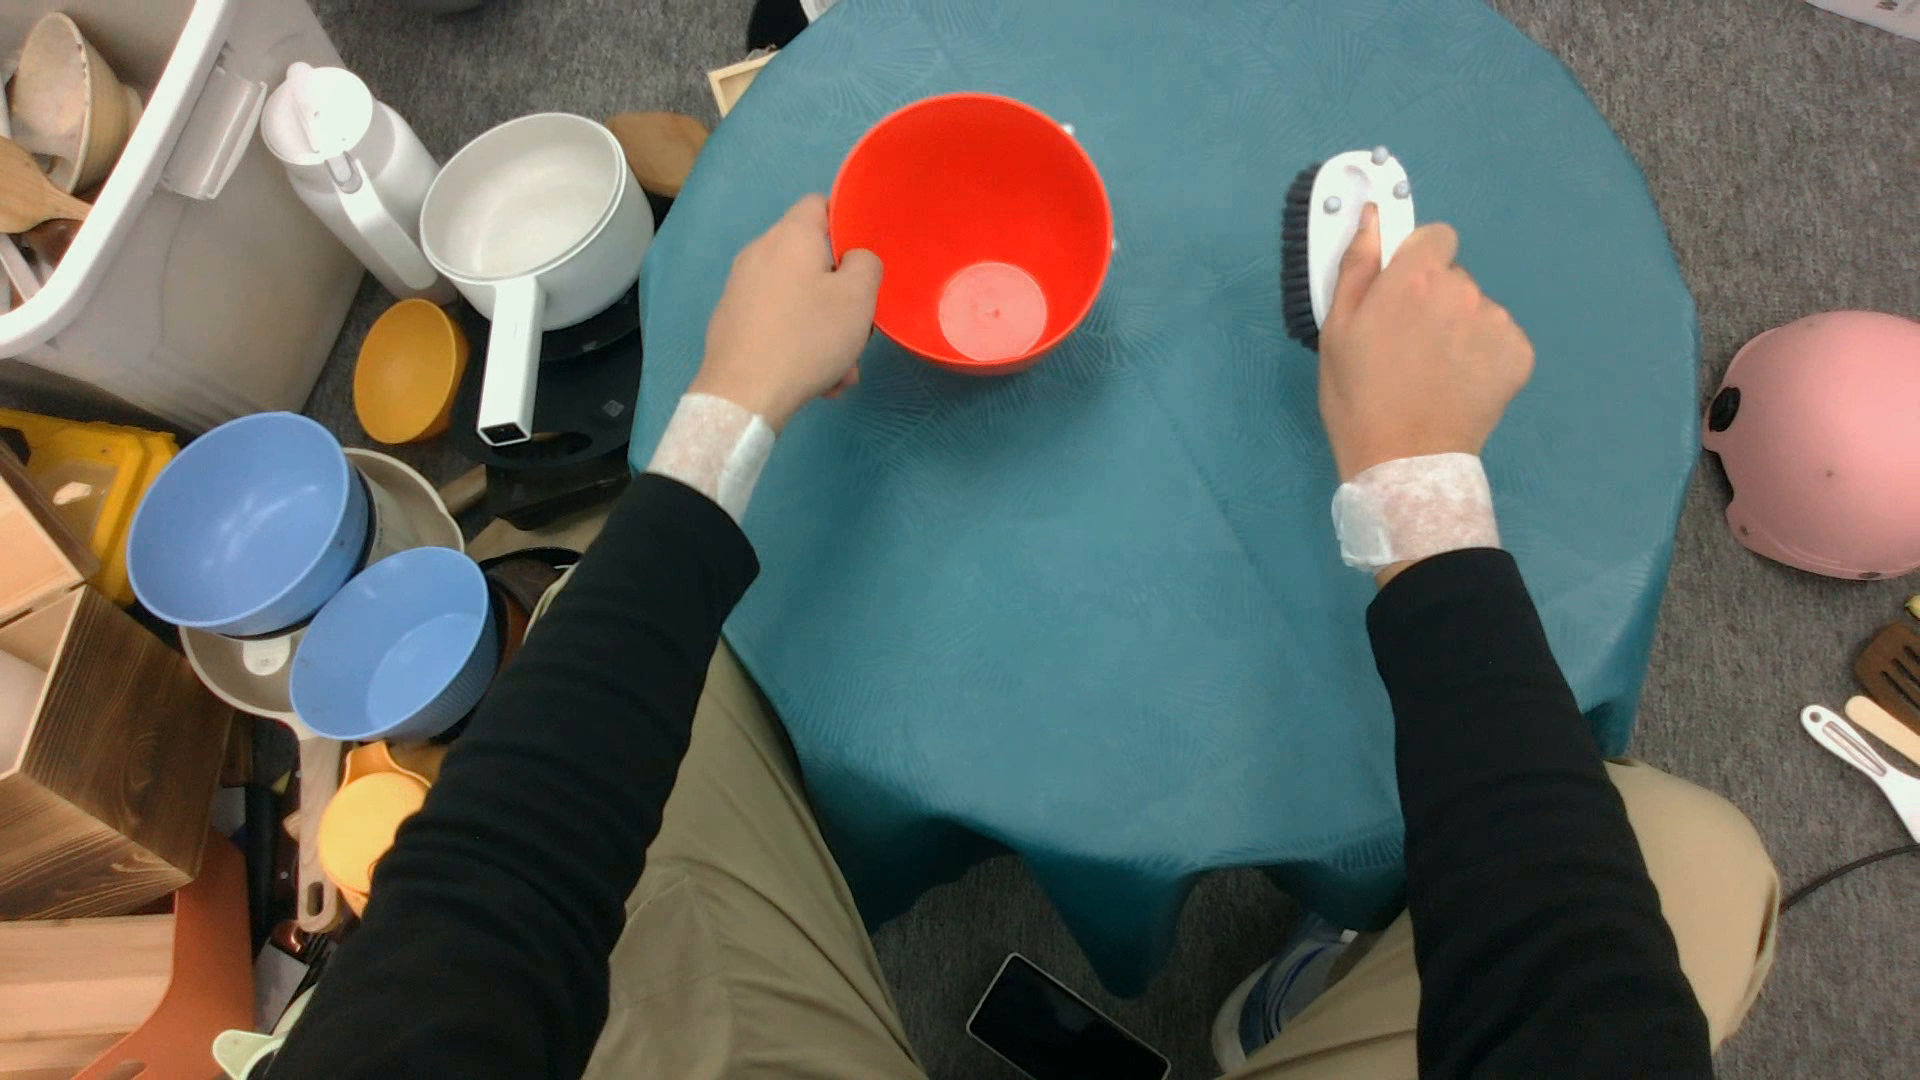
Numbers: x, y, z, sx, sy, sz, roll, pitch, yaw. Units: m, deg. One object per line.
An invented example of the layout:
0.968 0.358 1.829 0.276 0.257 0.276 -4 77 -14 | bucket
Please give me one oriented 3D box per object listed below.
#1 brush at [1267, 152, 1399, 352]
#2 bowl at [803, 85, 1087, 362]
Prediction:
0.197 -0.149 0.703 0.050 0.072 0.099 4 91 -15 | brush
-0.005 -0.159 0.757 0.148 0.104 0.148 -1 75 2 | bowl
